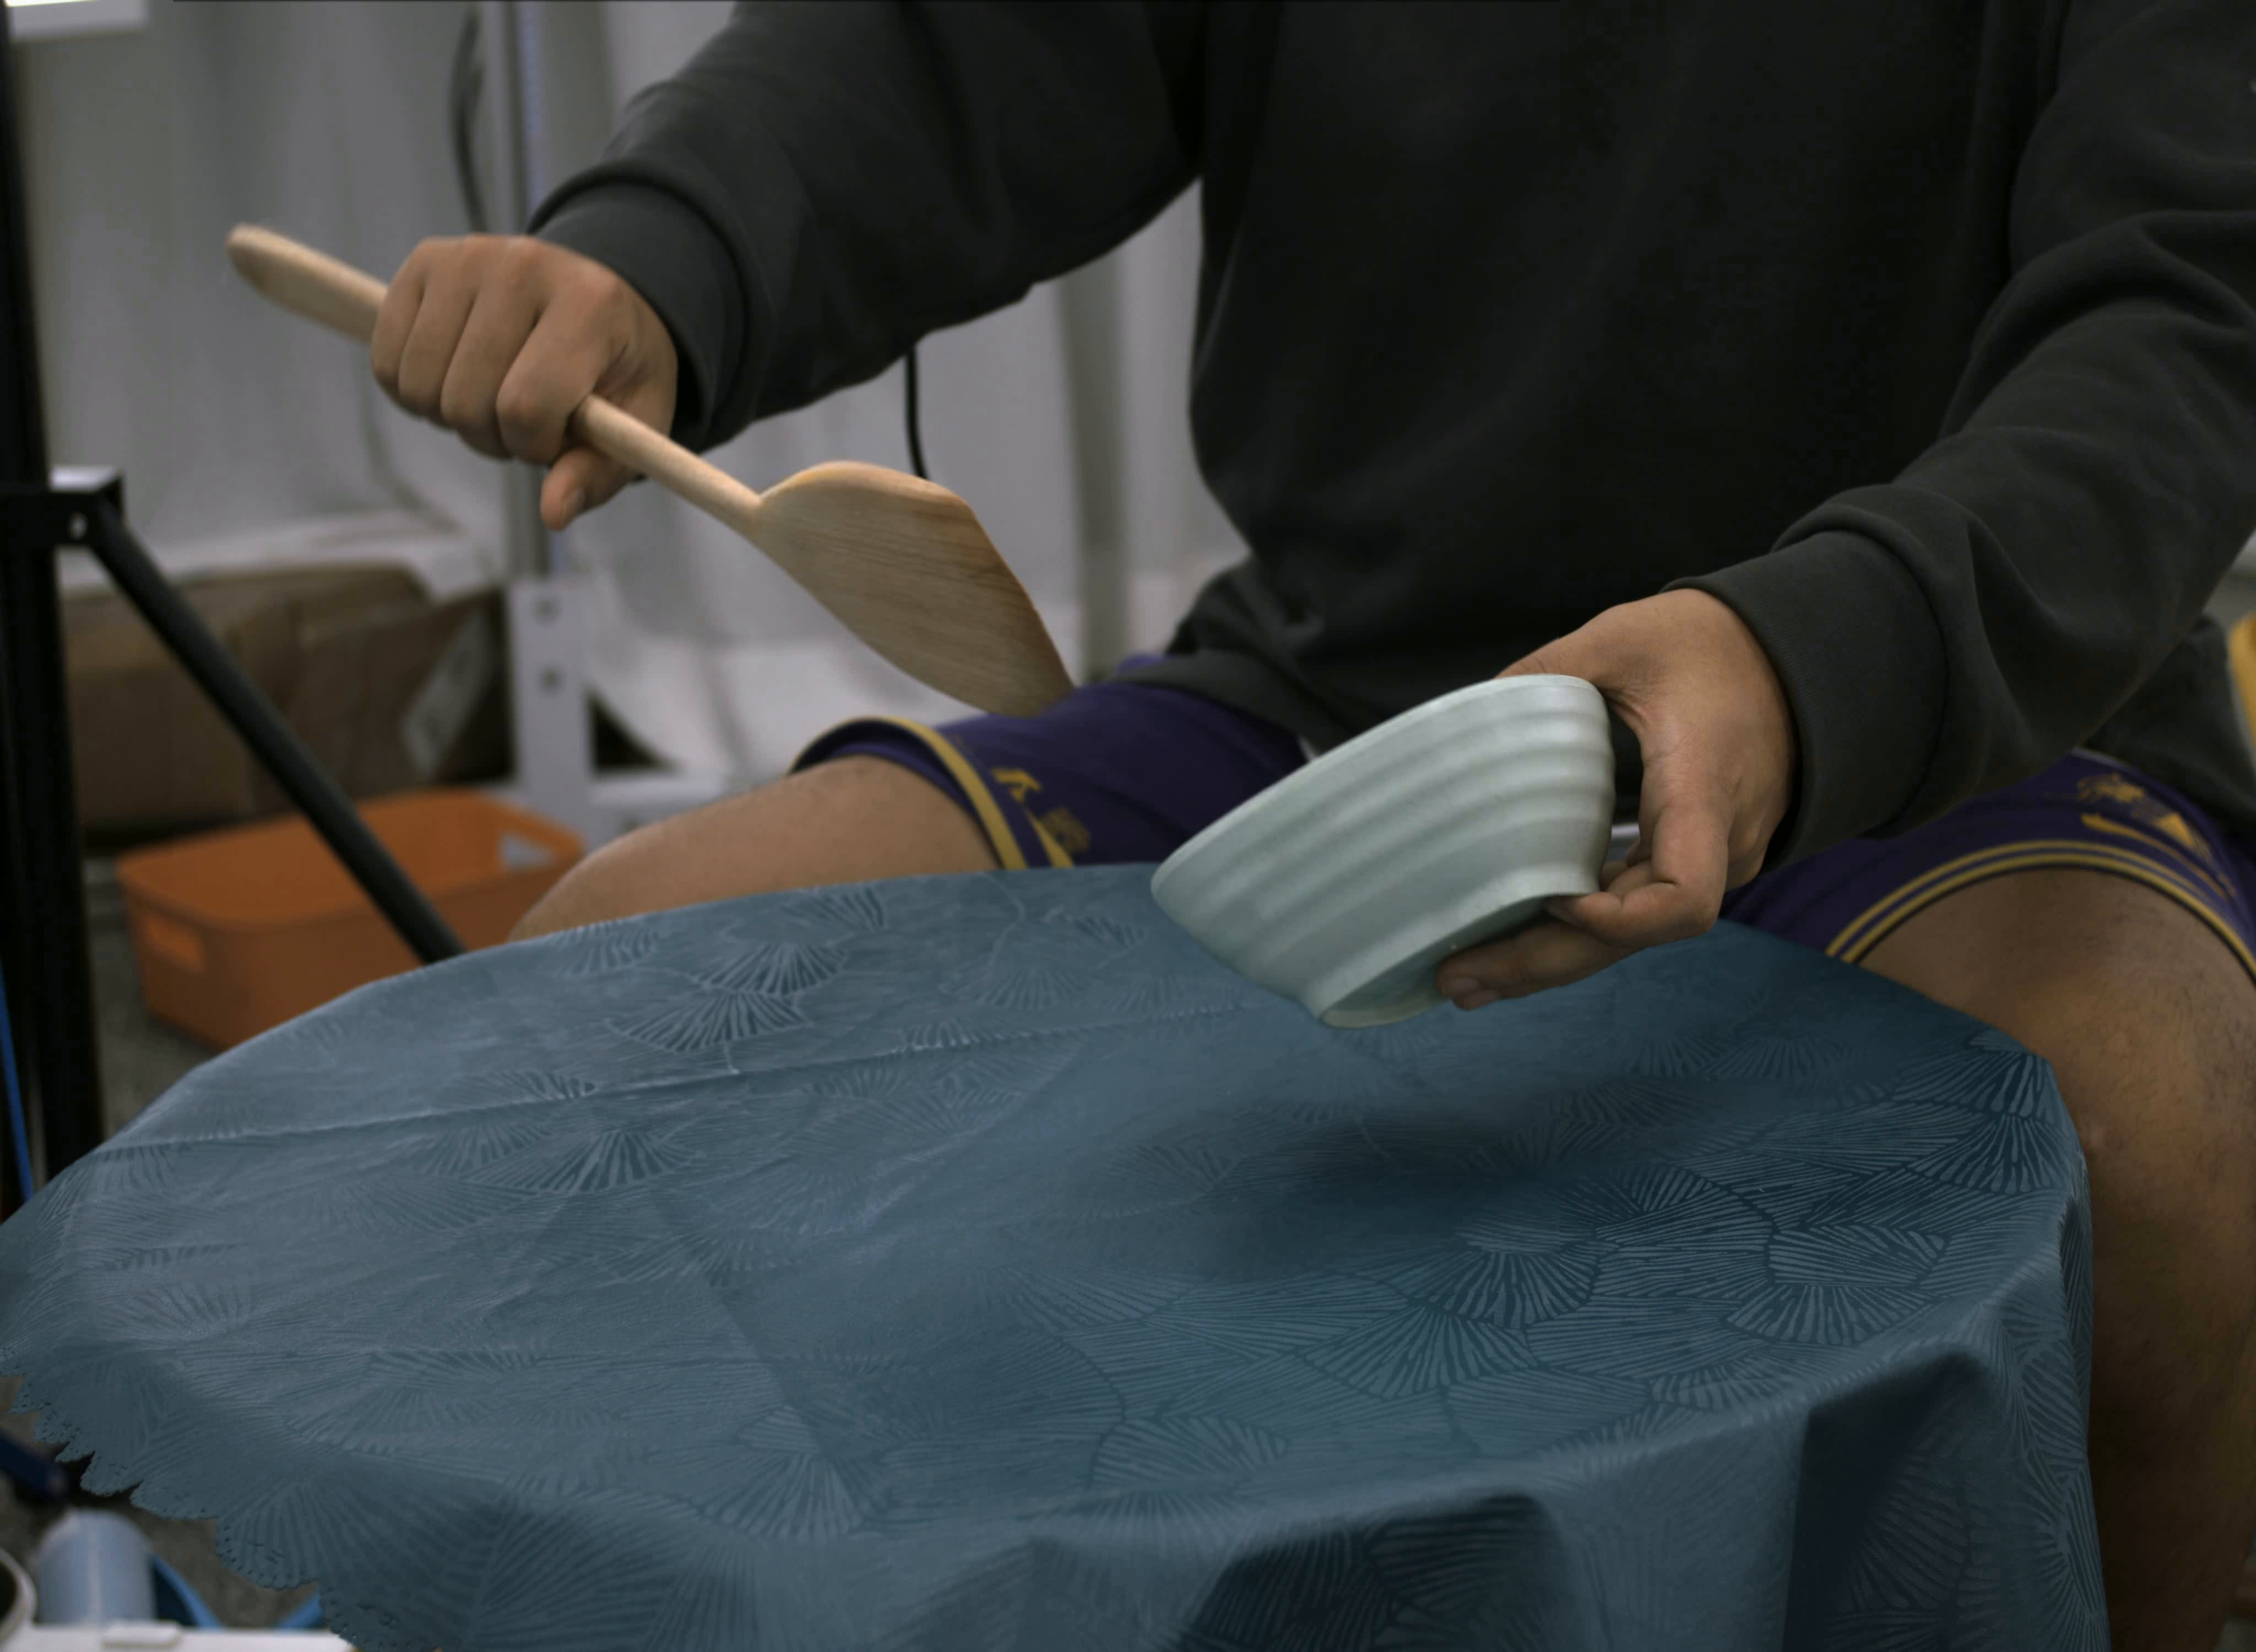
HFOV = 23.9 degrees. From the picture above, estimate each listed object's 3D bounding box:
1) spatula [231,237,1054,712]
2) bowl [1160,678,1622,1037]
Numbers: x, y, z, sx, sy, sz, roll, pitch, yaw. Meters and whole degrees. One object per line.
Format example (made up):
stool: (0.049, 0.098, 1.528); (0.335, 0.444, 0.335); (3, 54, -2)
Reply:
spatula: (-0.159, -0.122, 1.607); (0.018, 0.094, 0.400); (-40, 42, -22)
bowl: (0.087, 0.017, 1.549); (0.150, 0.059, 0.151); (-23, -15, -8)
